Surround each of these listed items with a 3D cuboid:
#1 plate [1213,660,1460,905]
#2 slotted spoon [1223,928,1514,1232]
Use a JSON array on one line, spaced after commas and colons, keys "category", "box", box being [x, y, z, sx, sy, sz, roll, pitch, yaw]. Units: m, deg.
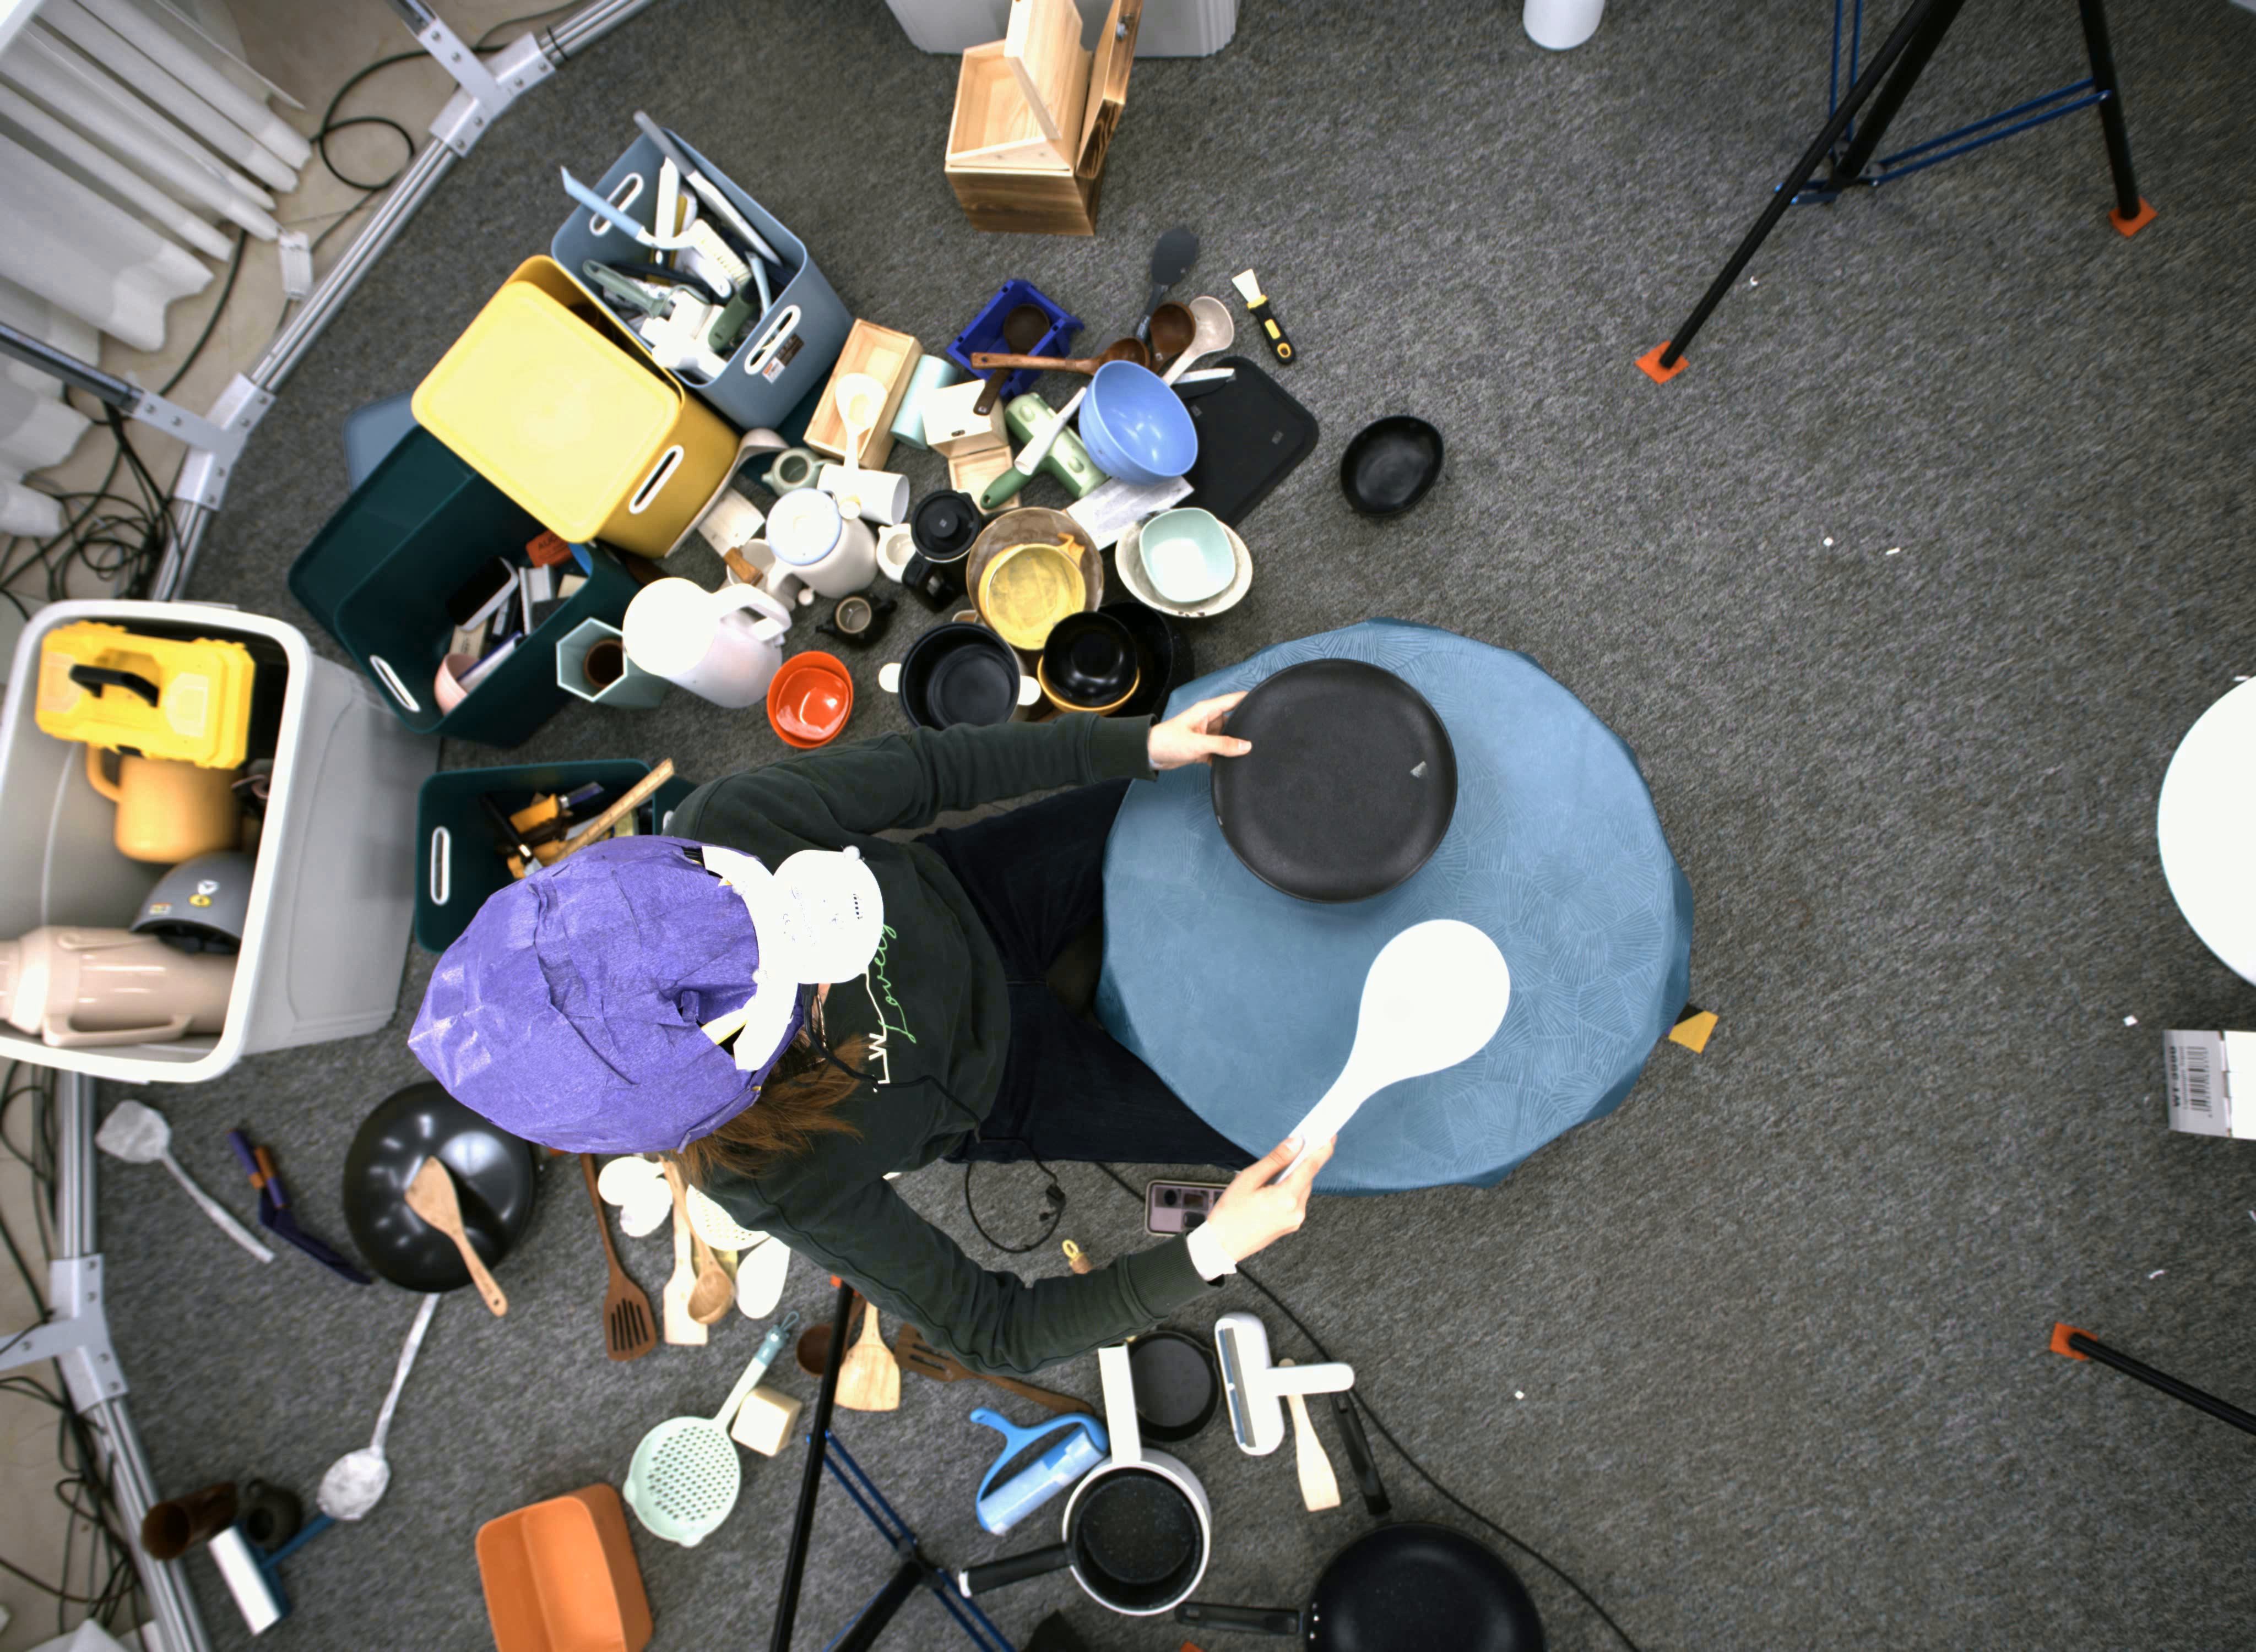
[{"category": "plate", "box": [0.207, -0.044, 1.377, 0.245, 0.023, 0.245, 0, 94, 9]}, {"category": "slotted spoon", "box": [0.212, 0.235, 1.253, 0.350, 0.046, 0.134, -45, 44, 3]}]
